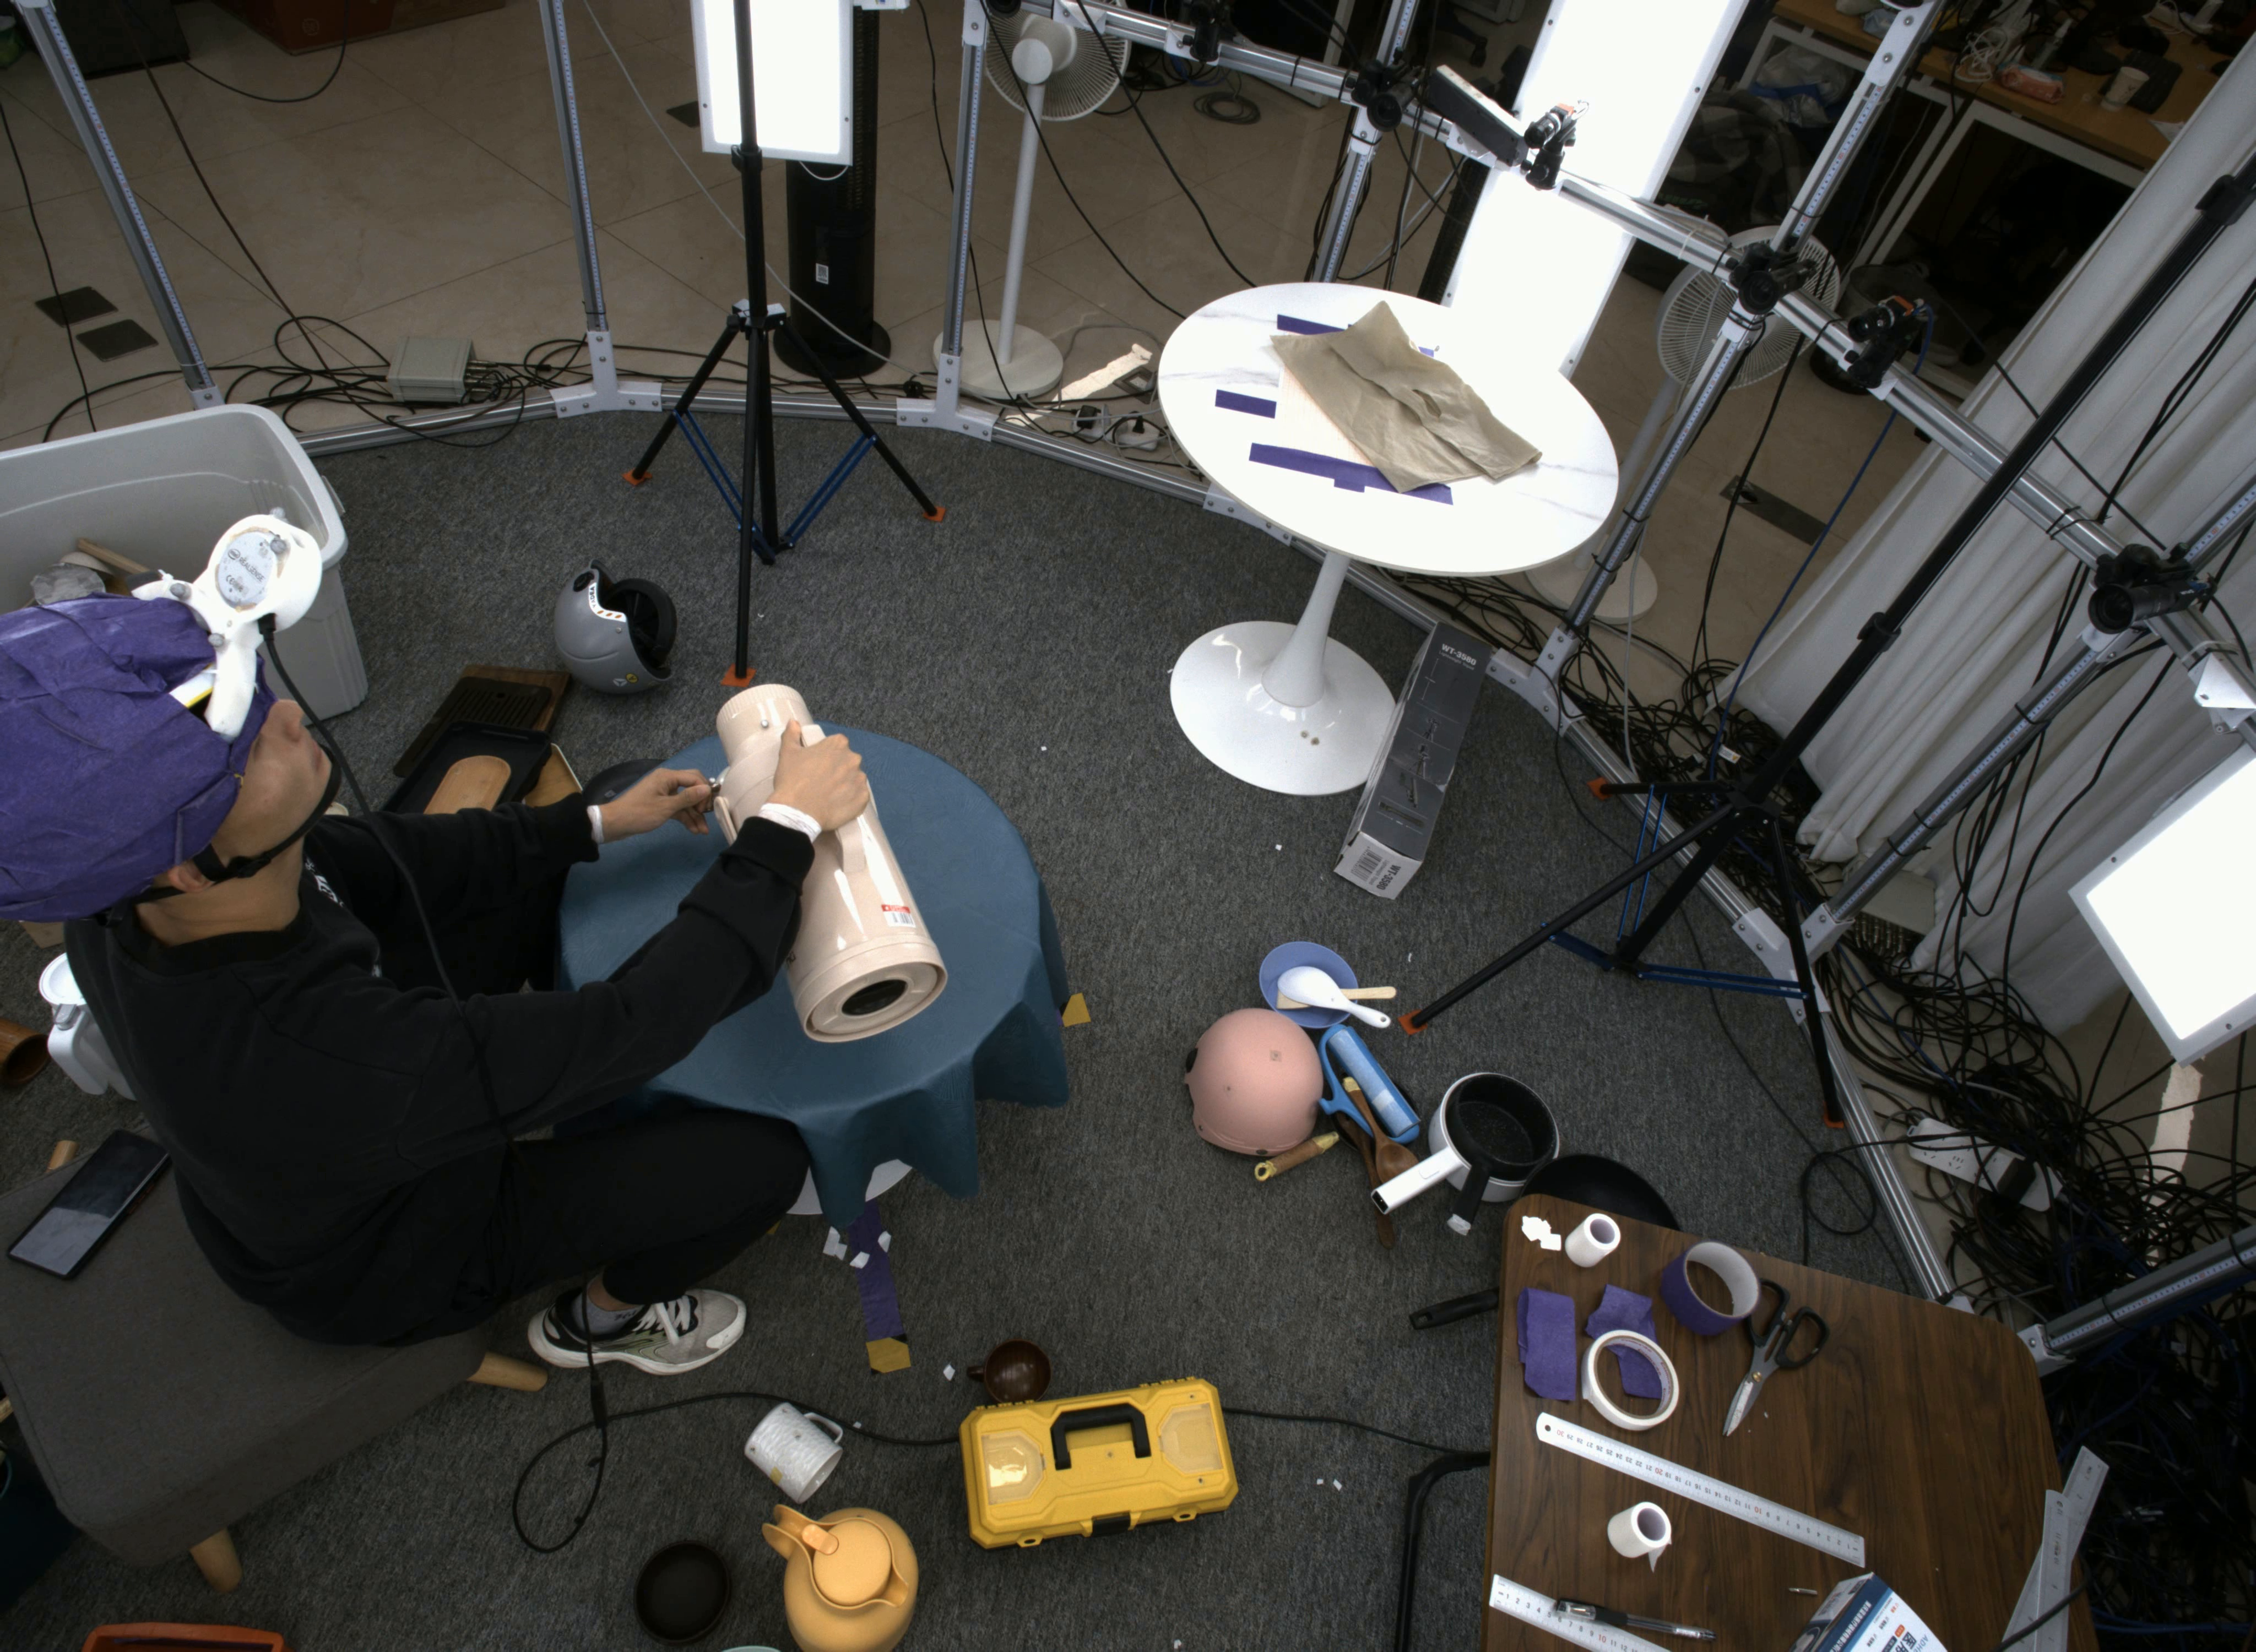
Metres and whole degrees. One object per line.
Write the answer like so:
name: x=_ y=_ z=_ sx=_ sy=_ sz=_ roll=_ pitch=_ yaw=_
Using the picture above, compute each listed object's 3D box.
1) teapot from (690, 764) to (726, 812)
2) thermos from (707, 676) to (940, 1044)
teapot: x=-0.489 y=-0.043 z=1.634 sx=0.129 sy=0.060 sz=0.090 roll=-11 pitch=62 yaw=-26
thermos: x=-0.345 y=0.015 z=1.407 sx=0.177 sy=0.209 sz=0.398 roll=-10 pitch=61 yaw=-33
